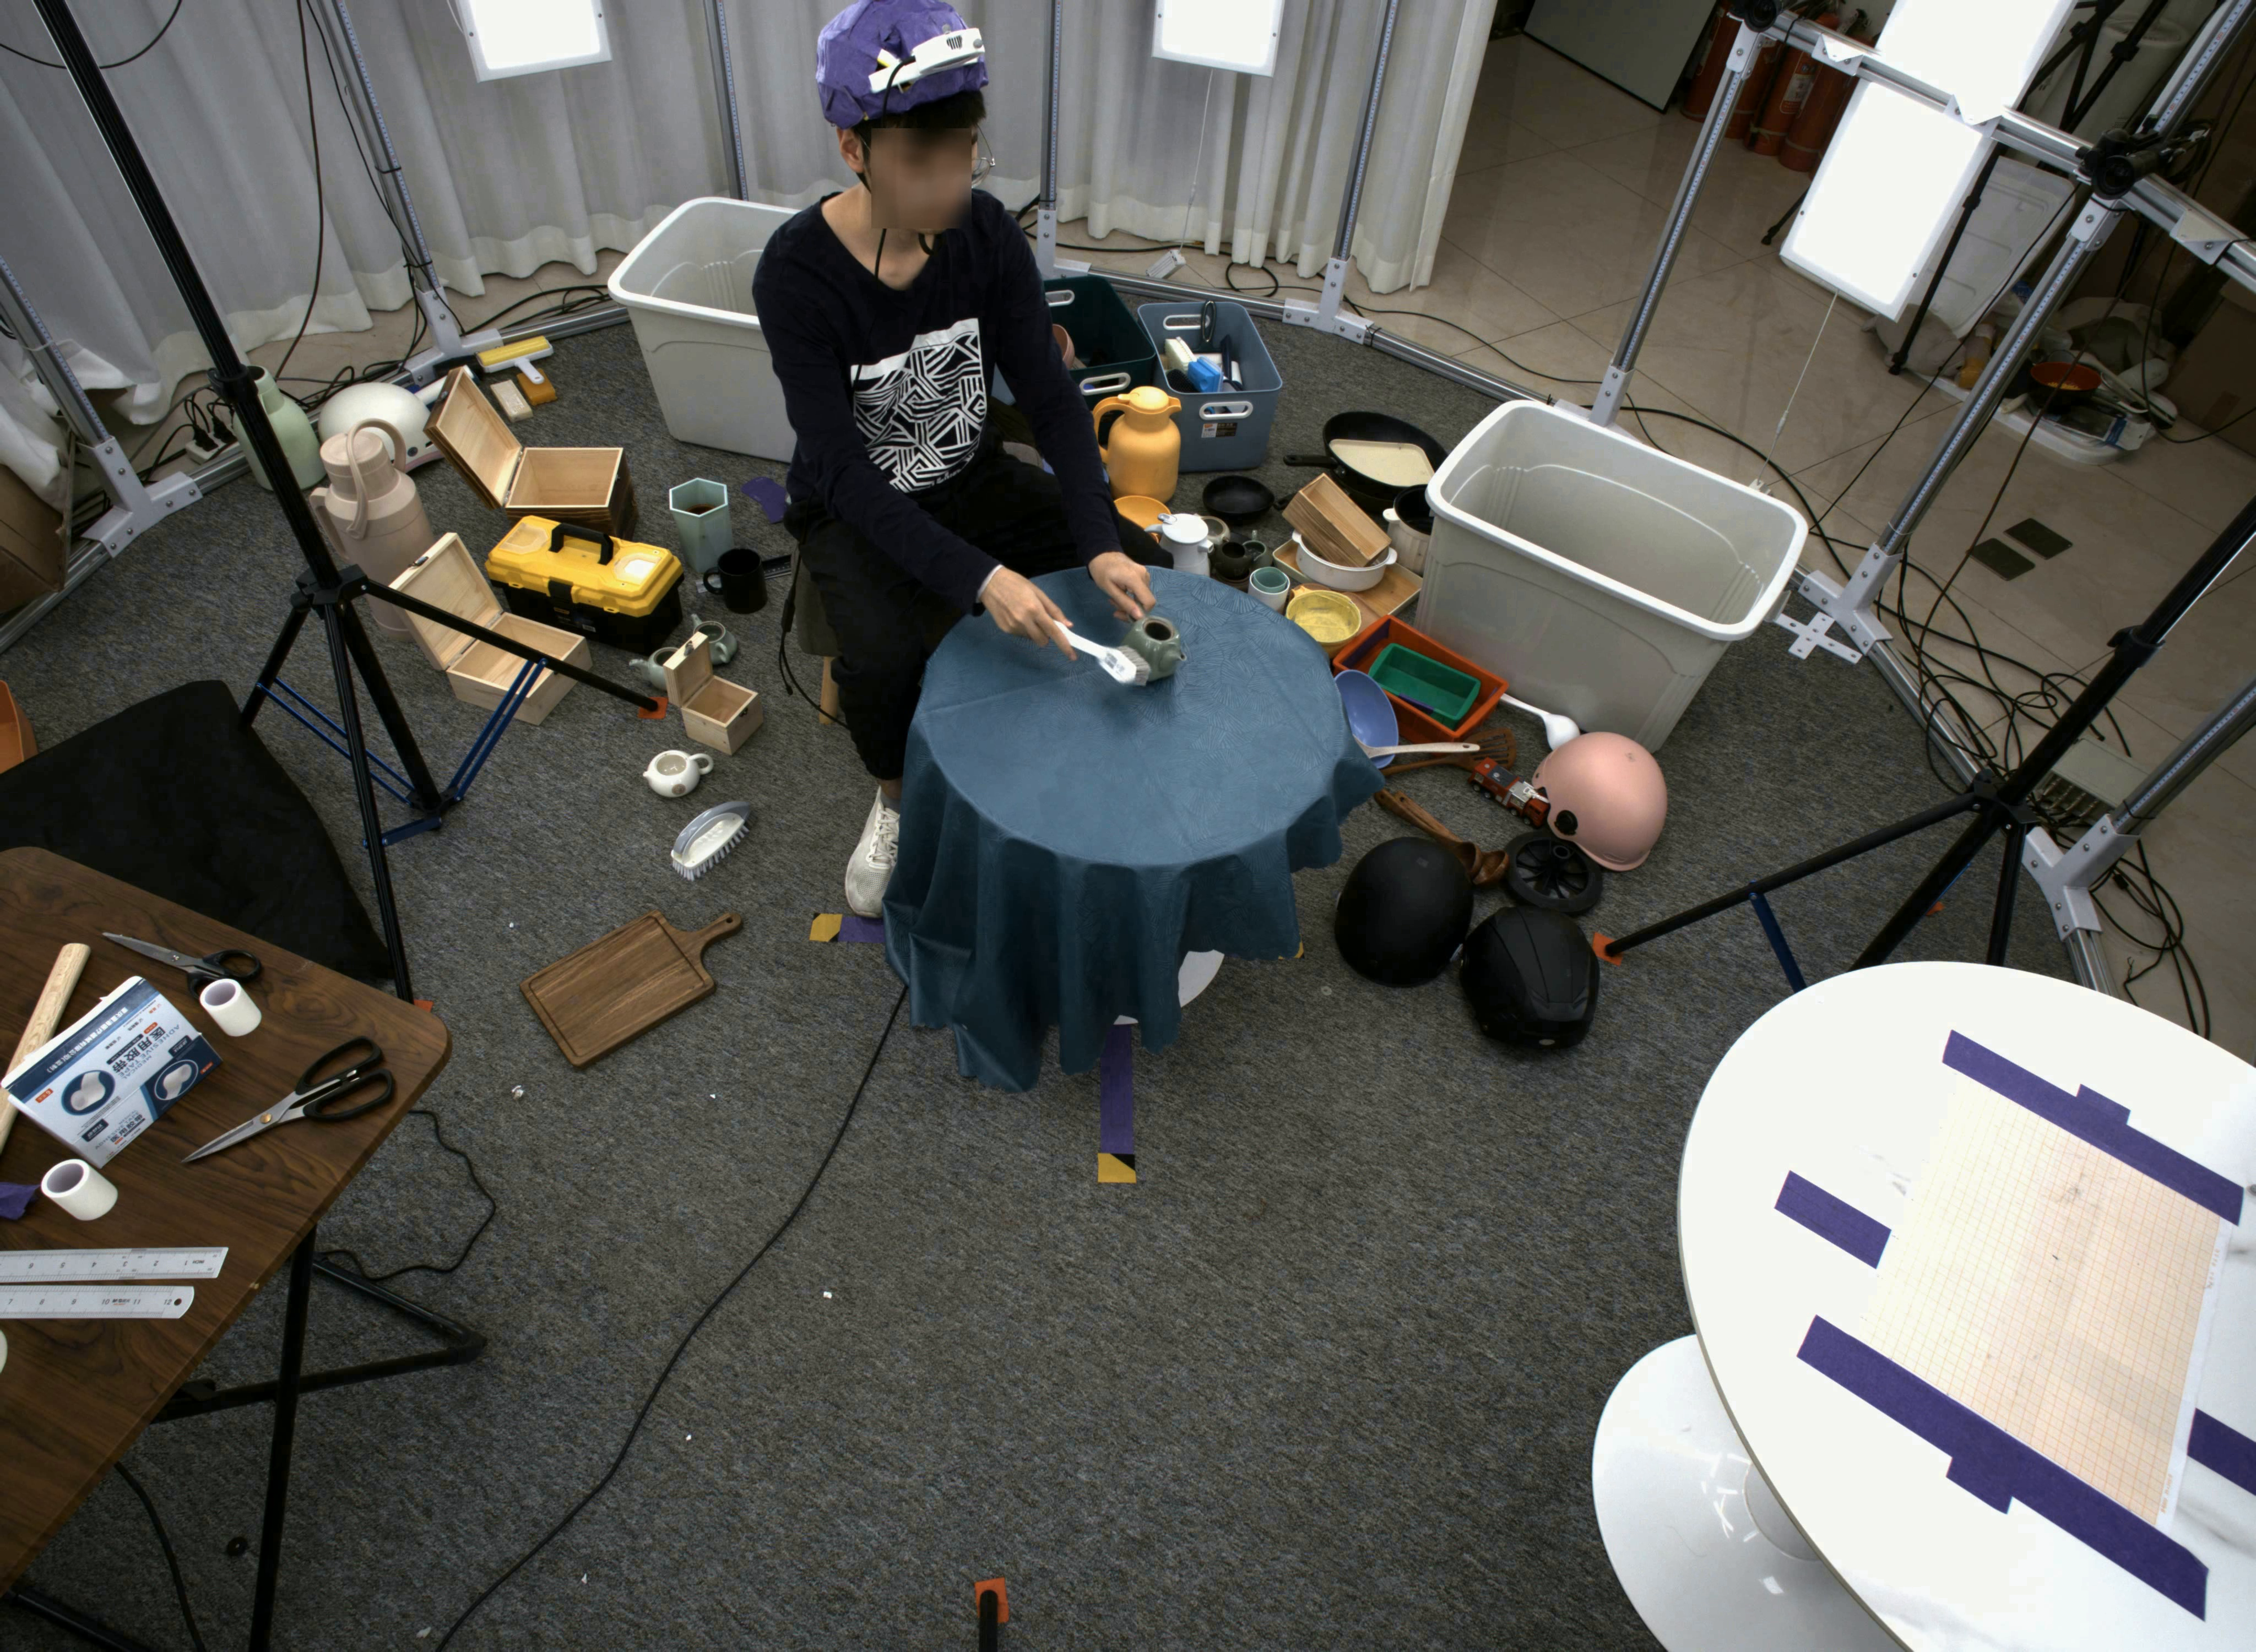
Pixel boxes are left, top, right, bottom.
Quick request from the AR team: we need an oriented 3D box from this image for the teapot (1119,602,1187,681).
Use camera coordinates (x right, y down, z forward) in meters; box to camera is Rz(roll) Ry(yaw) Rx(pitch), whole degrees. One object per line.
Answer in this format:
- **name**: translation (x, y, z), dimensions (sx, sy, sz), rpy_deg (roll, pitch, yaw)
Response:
- **teapot**: translation (0.034, -0.257, 1.840), dimensions (0.080, 0.073, 0.135), rpy_deg (-19, 57, -34)

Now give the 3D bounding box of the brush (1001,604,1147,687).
- **brush**: translation (-0.075, -0.263, 1.816), dimensions (0.247, 0.033, 0.051), rpy_deg (31, 41, 25)
